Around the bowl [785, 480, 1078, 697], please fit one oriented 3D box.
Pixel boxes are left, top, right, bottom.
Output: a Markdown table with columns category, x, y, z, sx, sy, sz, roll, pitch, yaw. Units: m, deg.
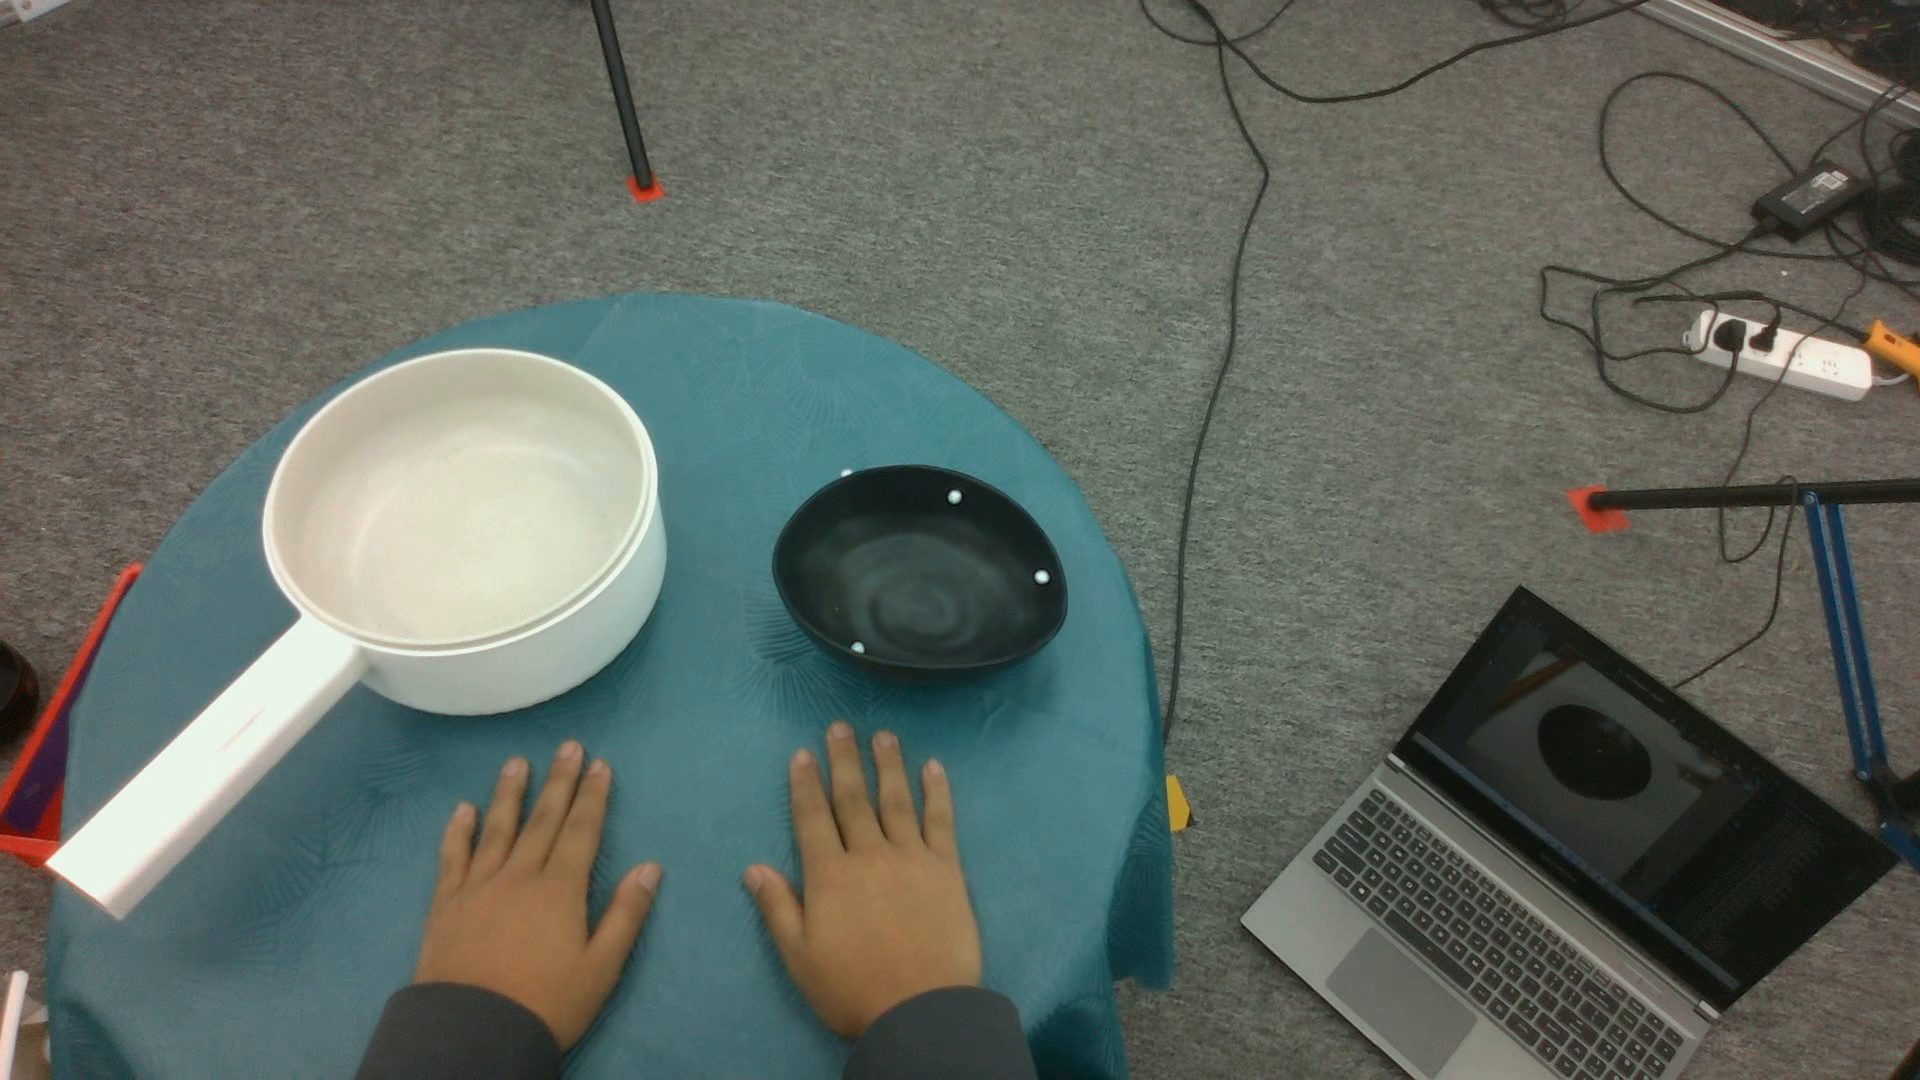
| category | x | y | z | sx | sy | sz | roll | pitch | yaw |
| --- | --- | --- | --- | --- | --- | --- | --- | --- | --- |
| bowl | -0.016 | 0.038 | 0.808 | 0.170 | 0.066 | 0.138 | 9 | 55 | 3 |

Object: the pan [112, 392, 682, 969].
| category | x | y | z | sx | sy | sz | roll | pitch | yaw |
| --- | --- | --- | --- | --- | --- | --- | --- | --- | --- |
| pan | -0.298 | 0.078 | 0.762 | 0.201 | 0.101 | 0.356 | 26 | 60 | 12 |
